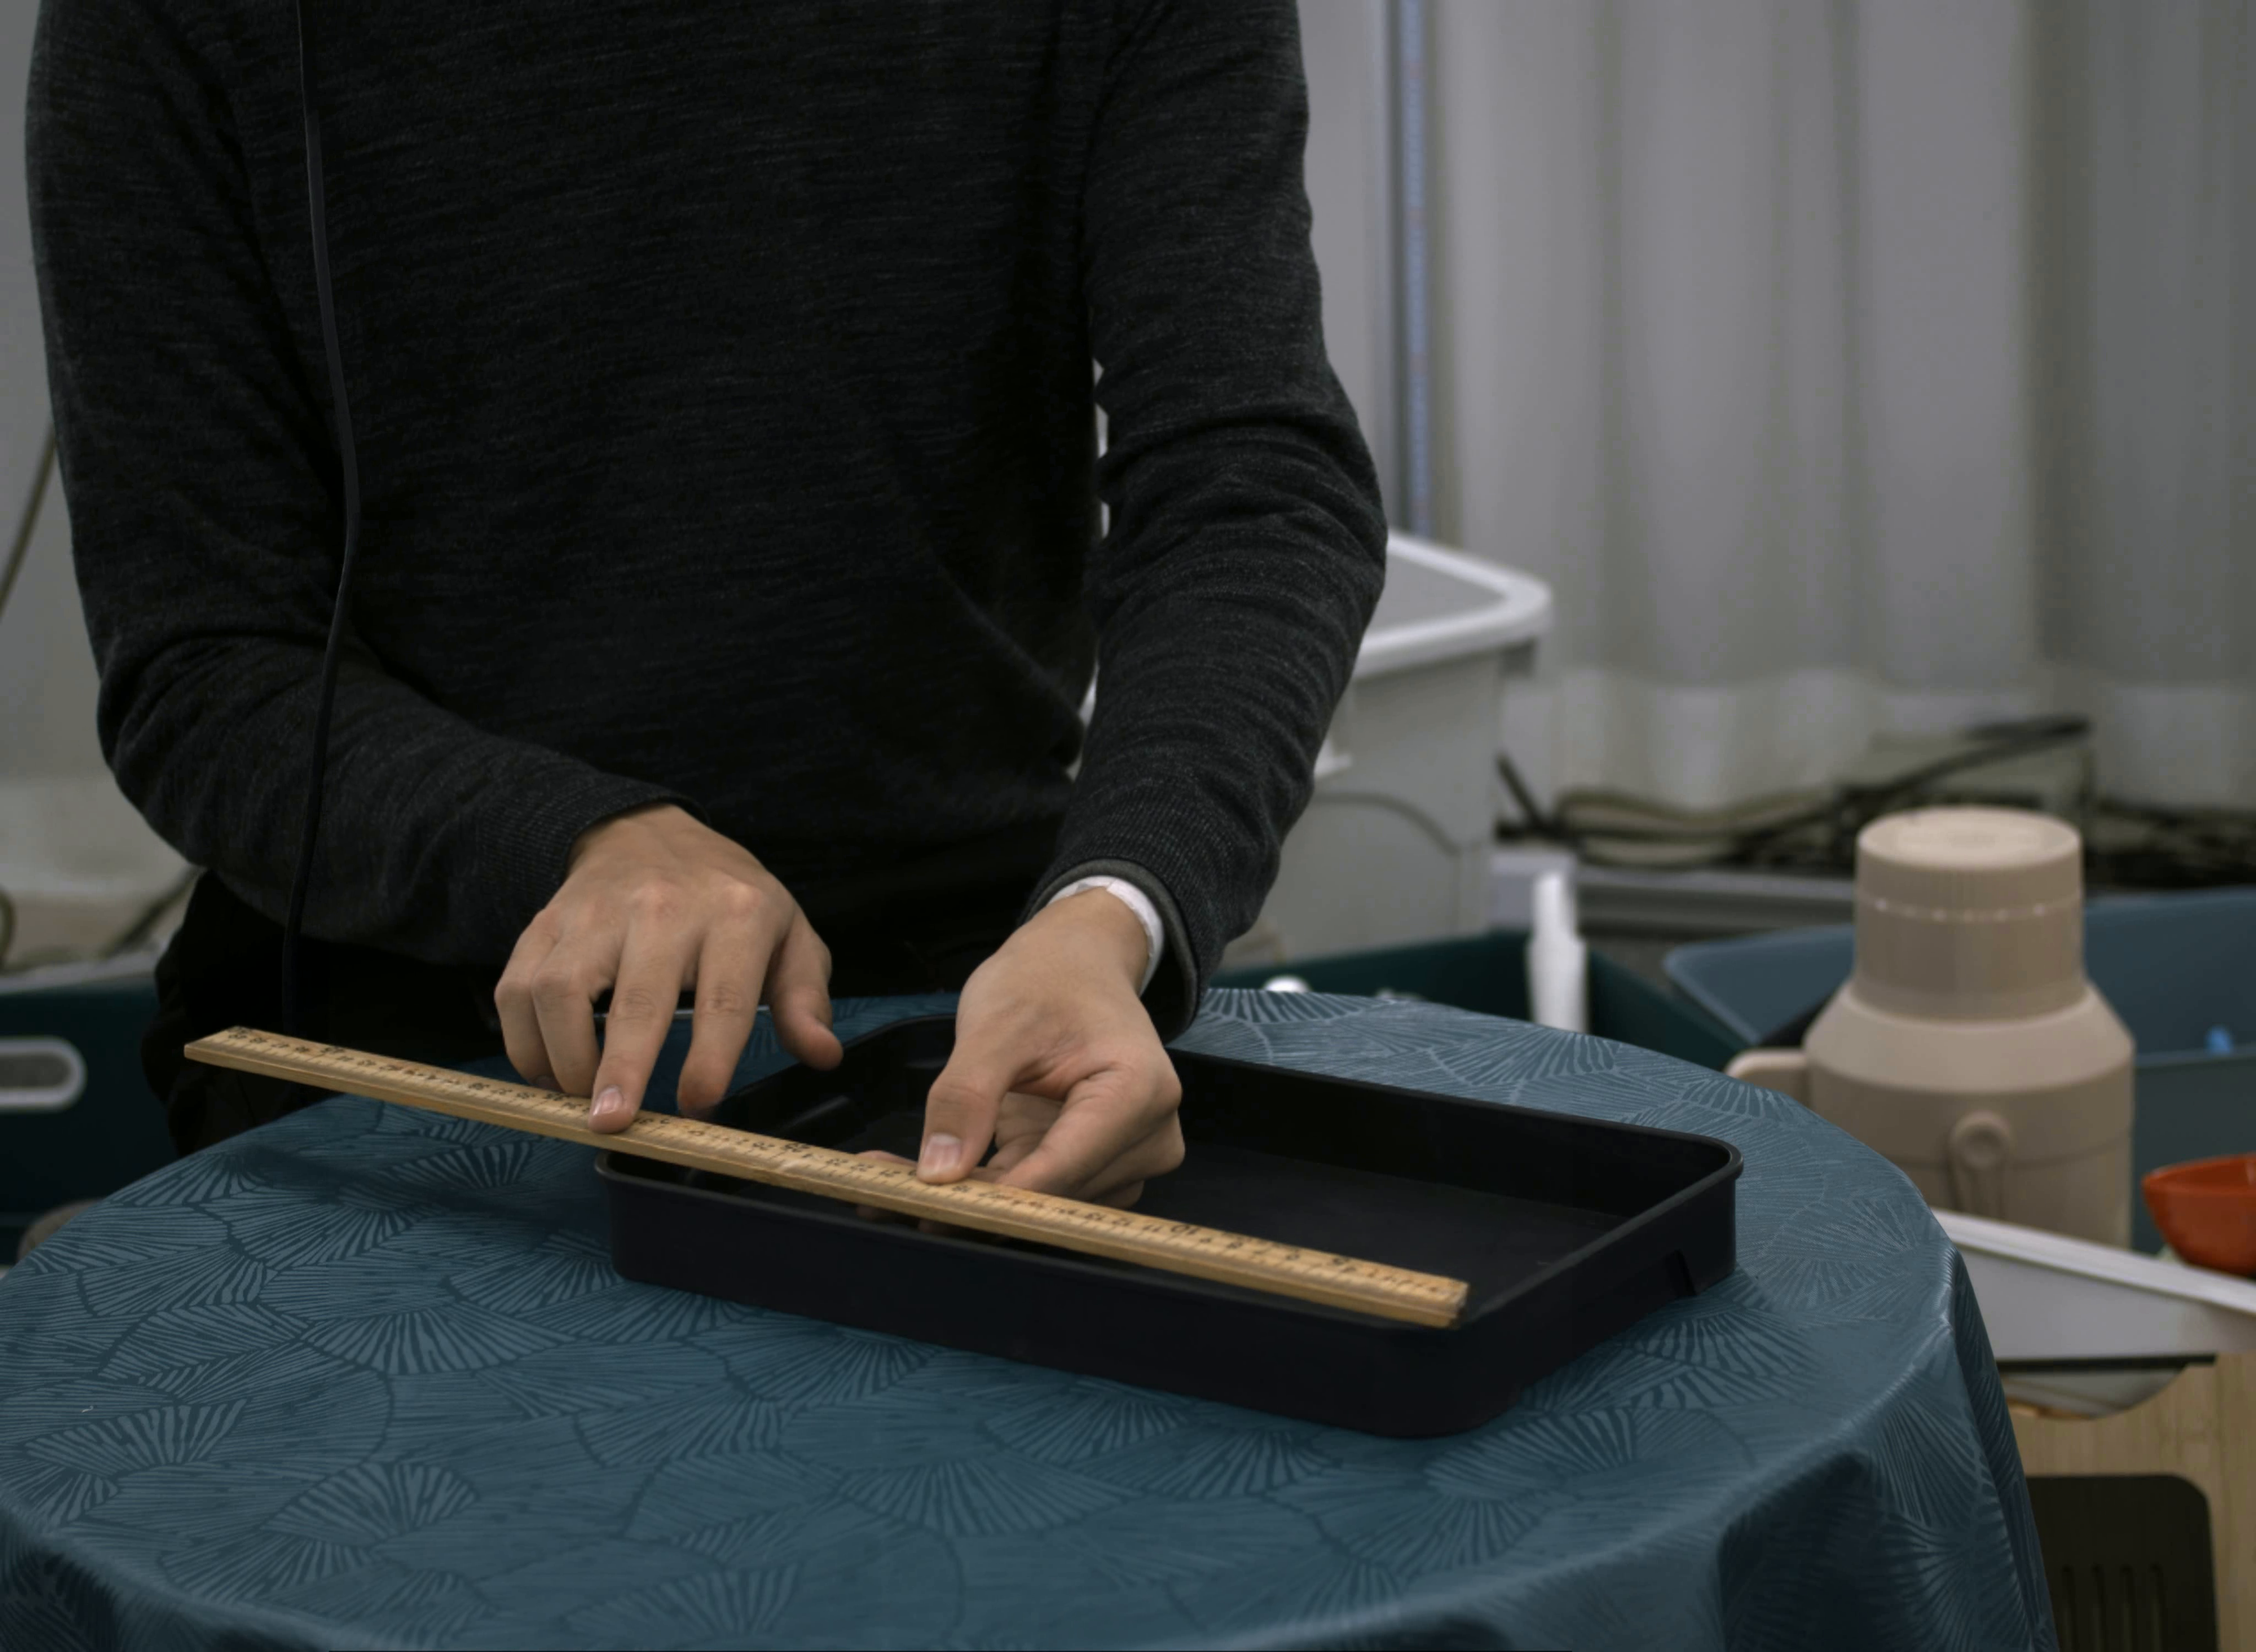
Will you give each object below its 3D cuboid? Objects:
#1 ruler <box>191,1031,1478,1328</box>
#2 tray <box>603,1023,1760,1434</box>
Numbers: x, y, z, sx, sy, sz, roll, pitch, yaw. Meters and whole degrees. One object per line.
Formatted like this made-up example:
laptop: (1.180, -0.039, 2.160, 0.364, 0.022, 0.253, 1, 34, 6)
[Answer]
ruler: (-0.104, 0.101, 1.643, 0.502, 0.006, 0.027, 9, 17, 38)
tray: (0.015, 0.116, 1.638, 0.319, 0.037, 0.184, 7, 17, 34)
